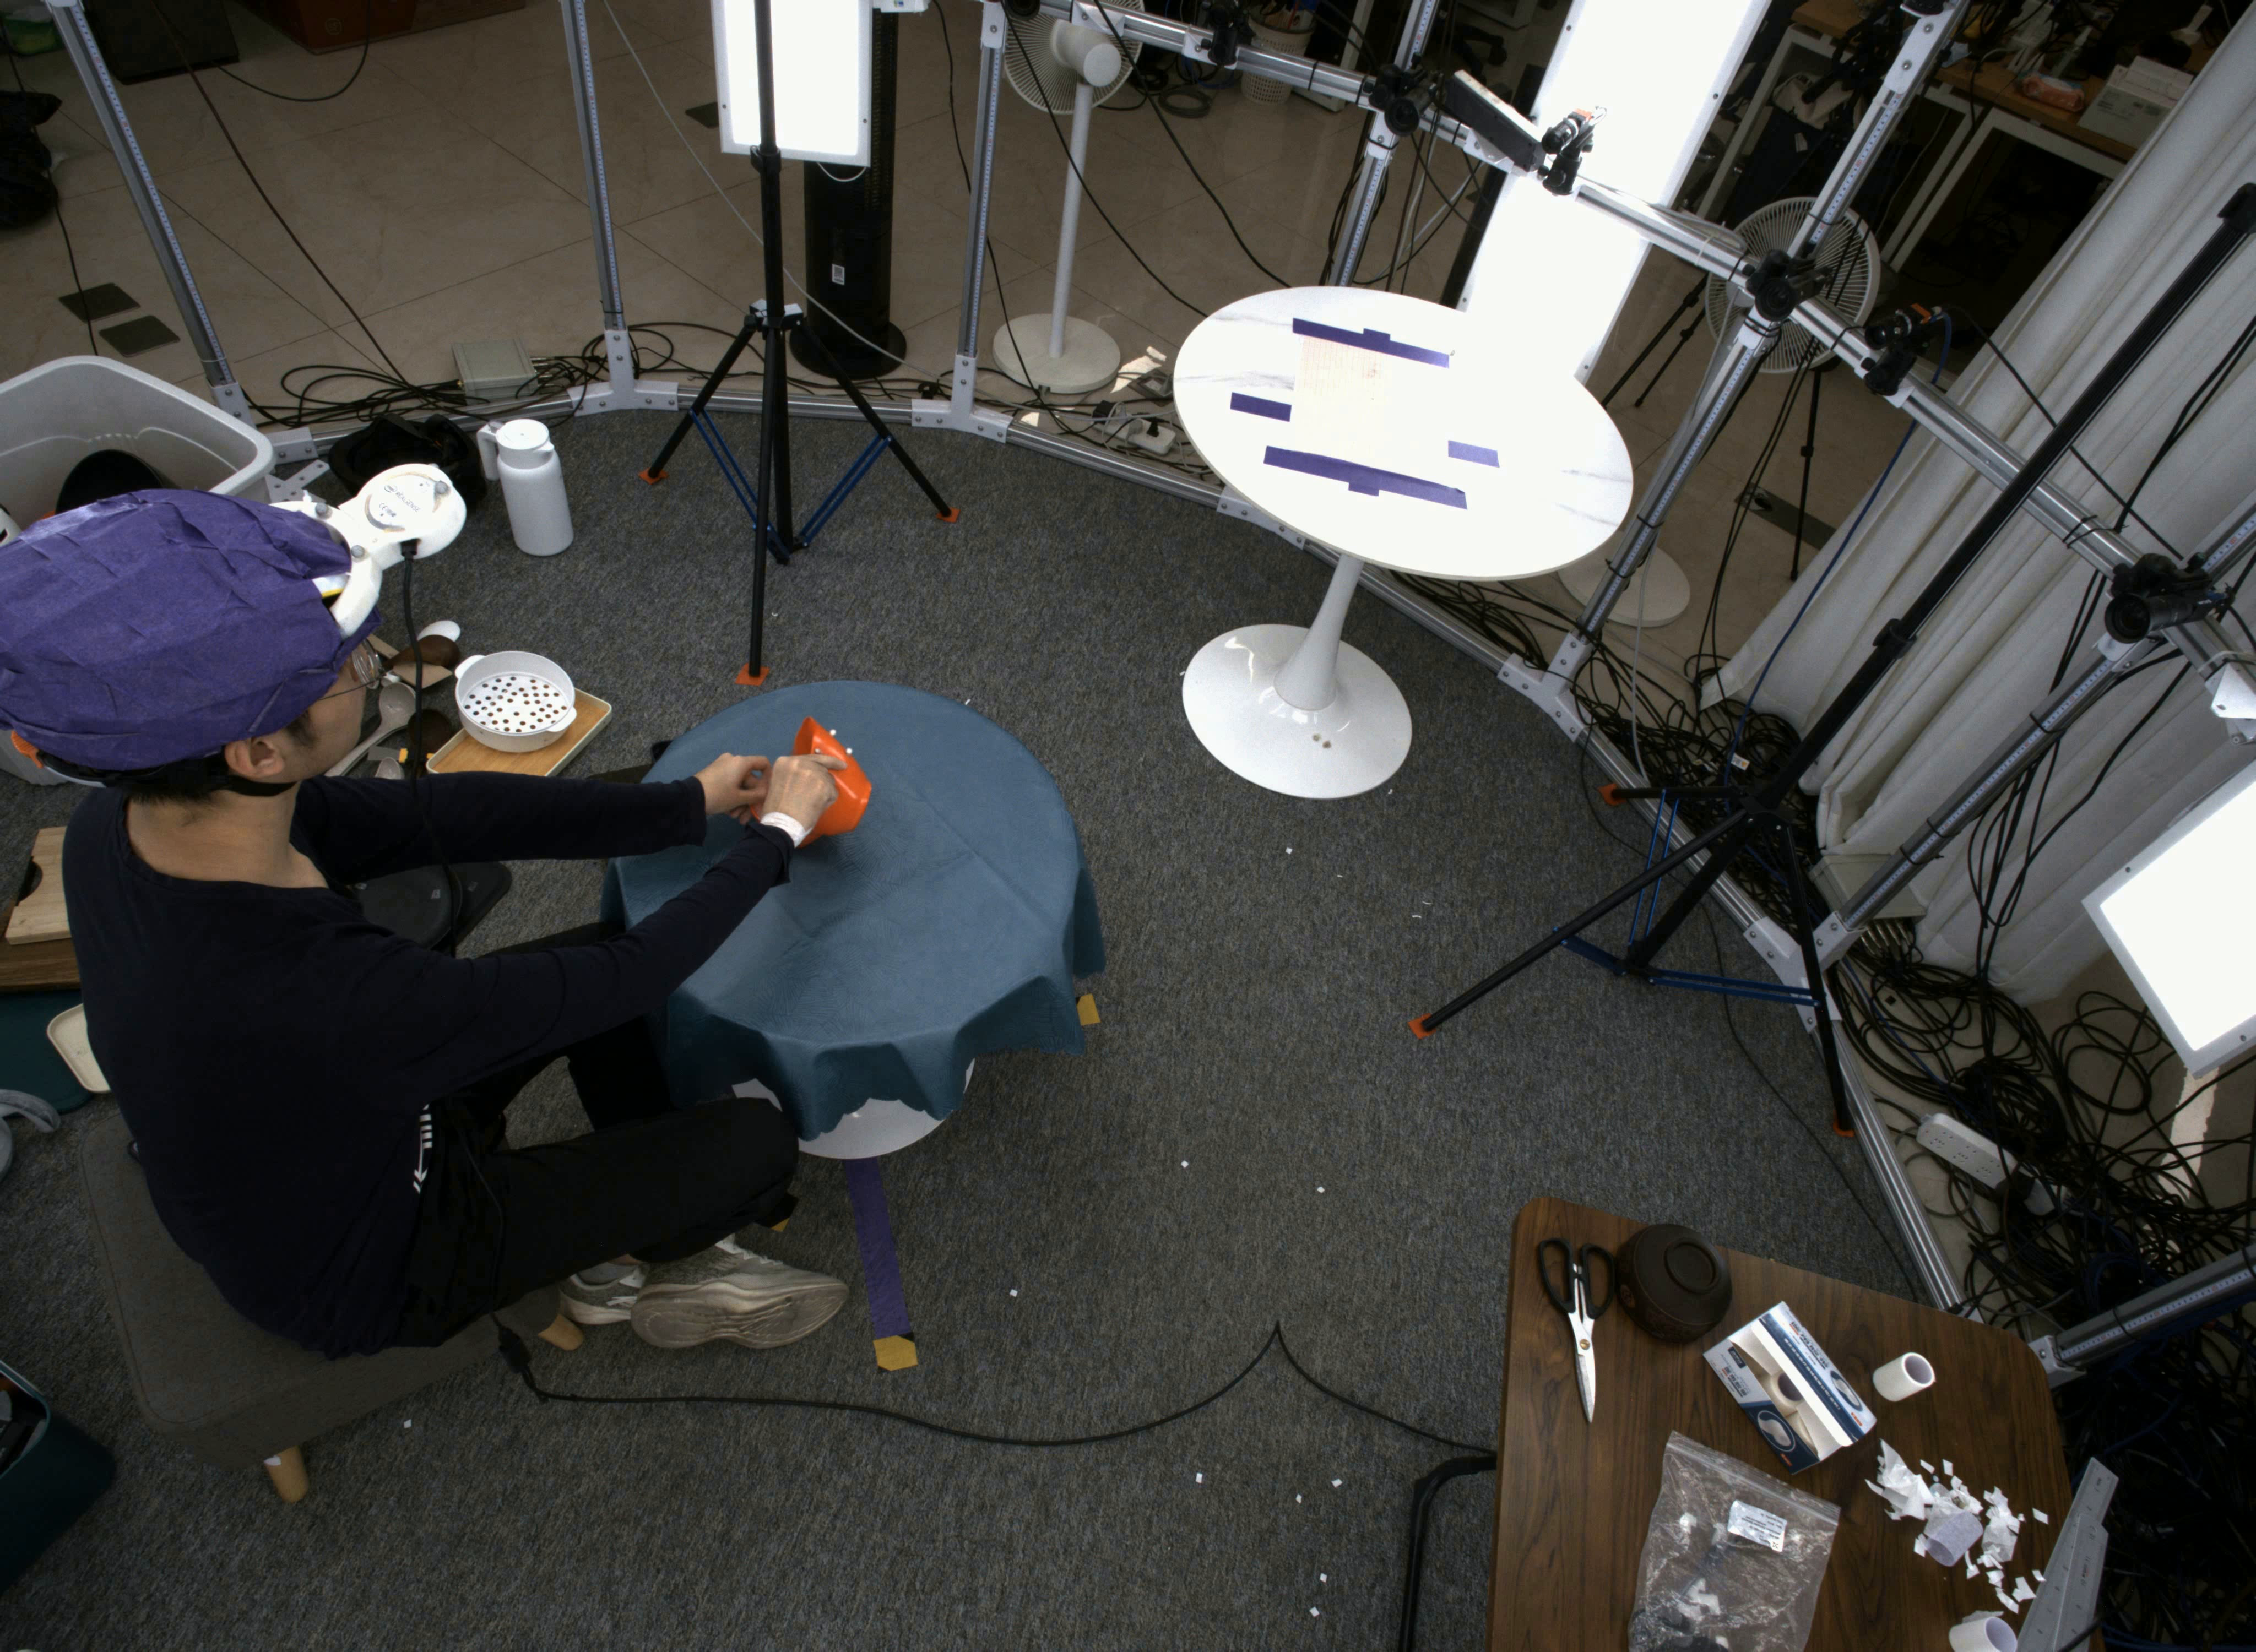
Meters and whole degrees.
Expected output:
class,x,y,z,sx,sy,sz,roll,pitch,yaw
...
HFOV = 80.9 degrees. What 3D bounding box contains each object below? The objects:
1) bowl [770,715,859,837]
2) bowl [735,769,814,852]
class,x,y,z,sx,sy,sz,roll,pitch,yaw
bowl,-0.398,-0.053,1.642,0.106,0.148,0.145,19,49,-21
bowl,-0.455,-0.013,1.706,0.119,0.052,0.117,7,55,-9
